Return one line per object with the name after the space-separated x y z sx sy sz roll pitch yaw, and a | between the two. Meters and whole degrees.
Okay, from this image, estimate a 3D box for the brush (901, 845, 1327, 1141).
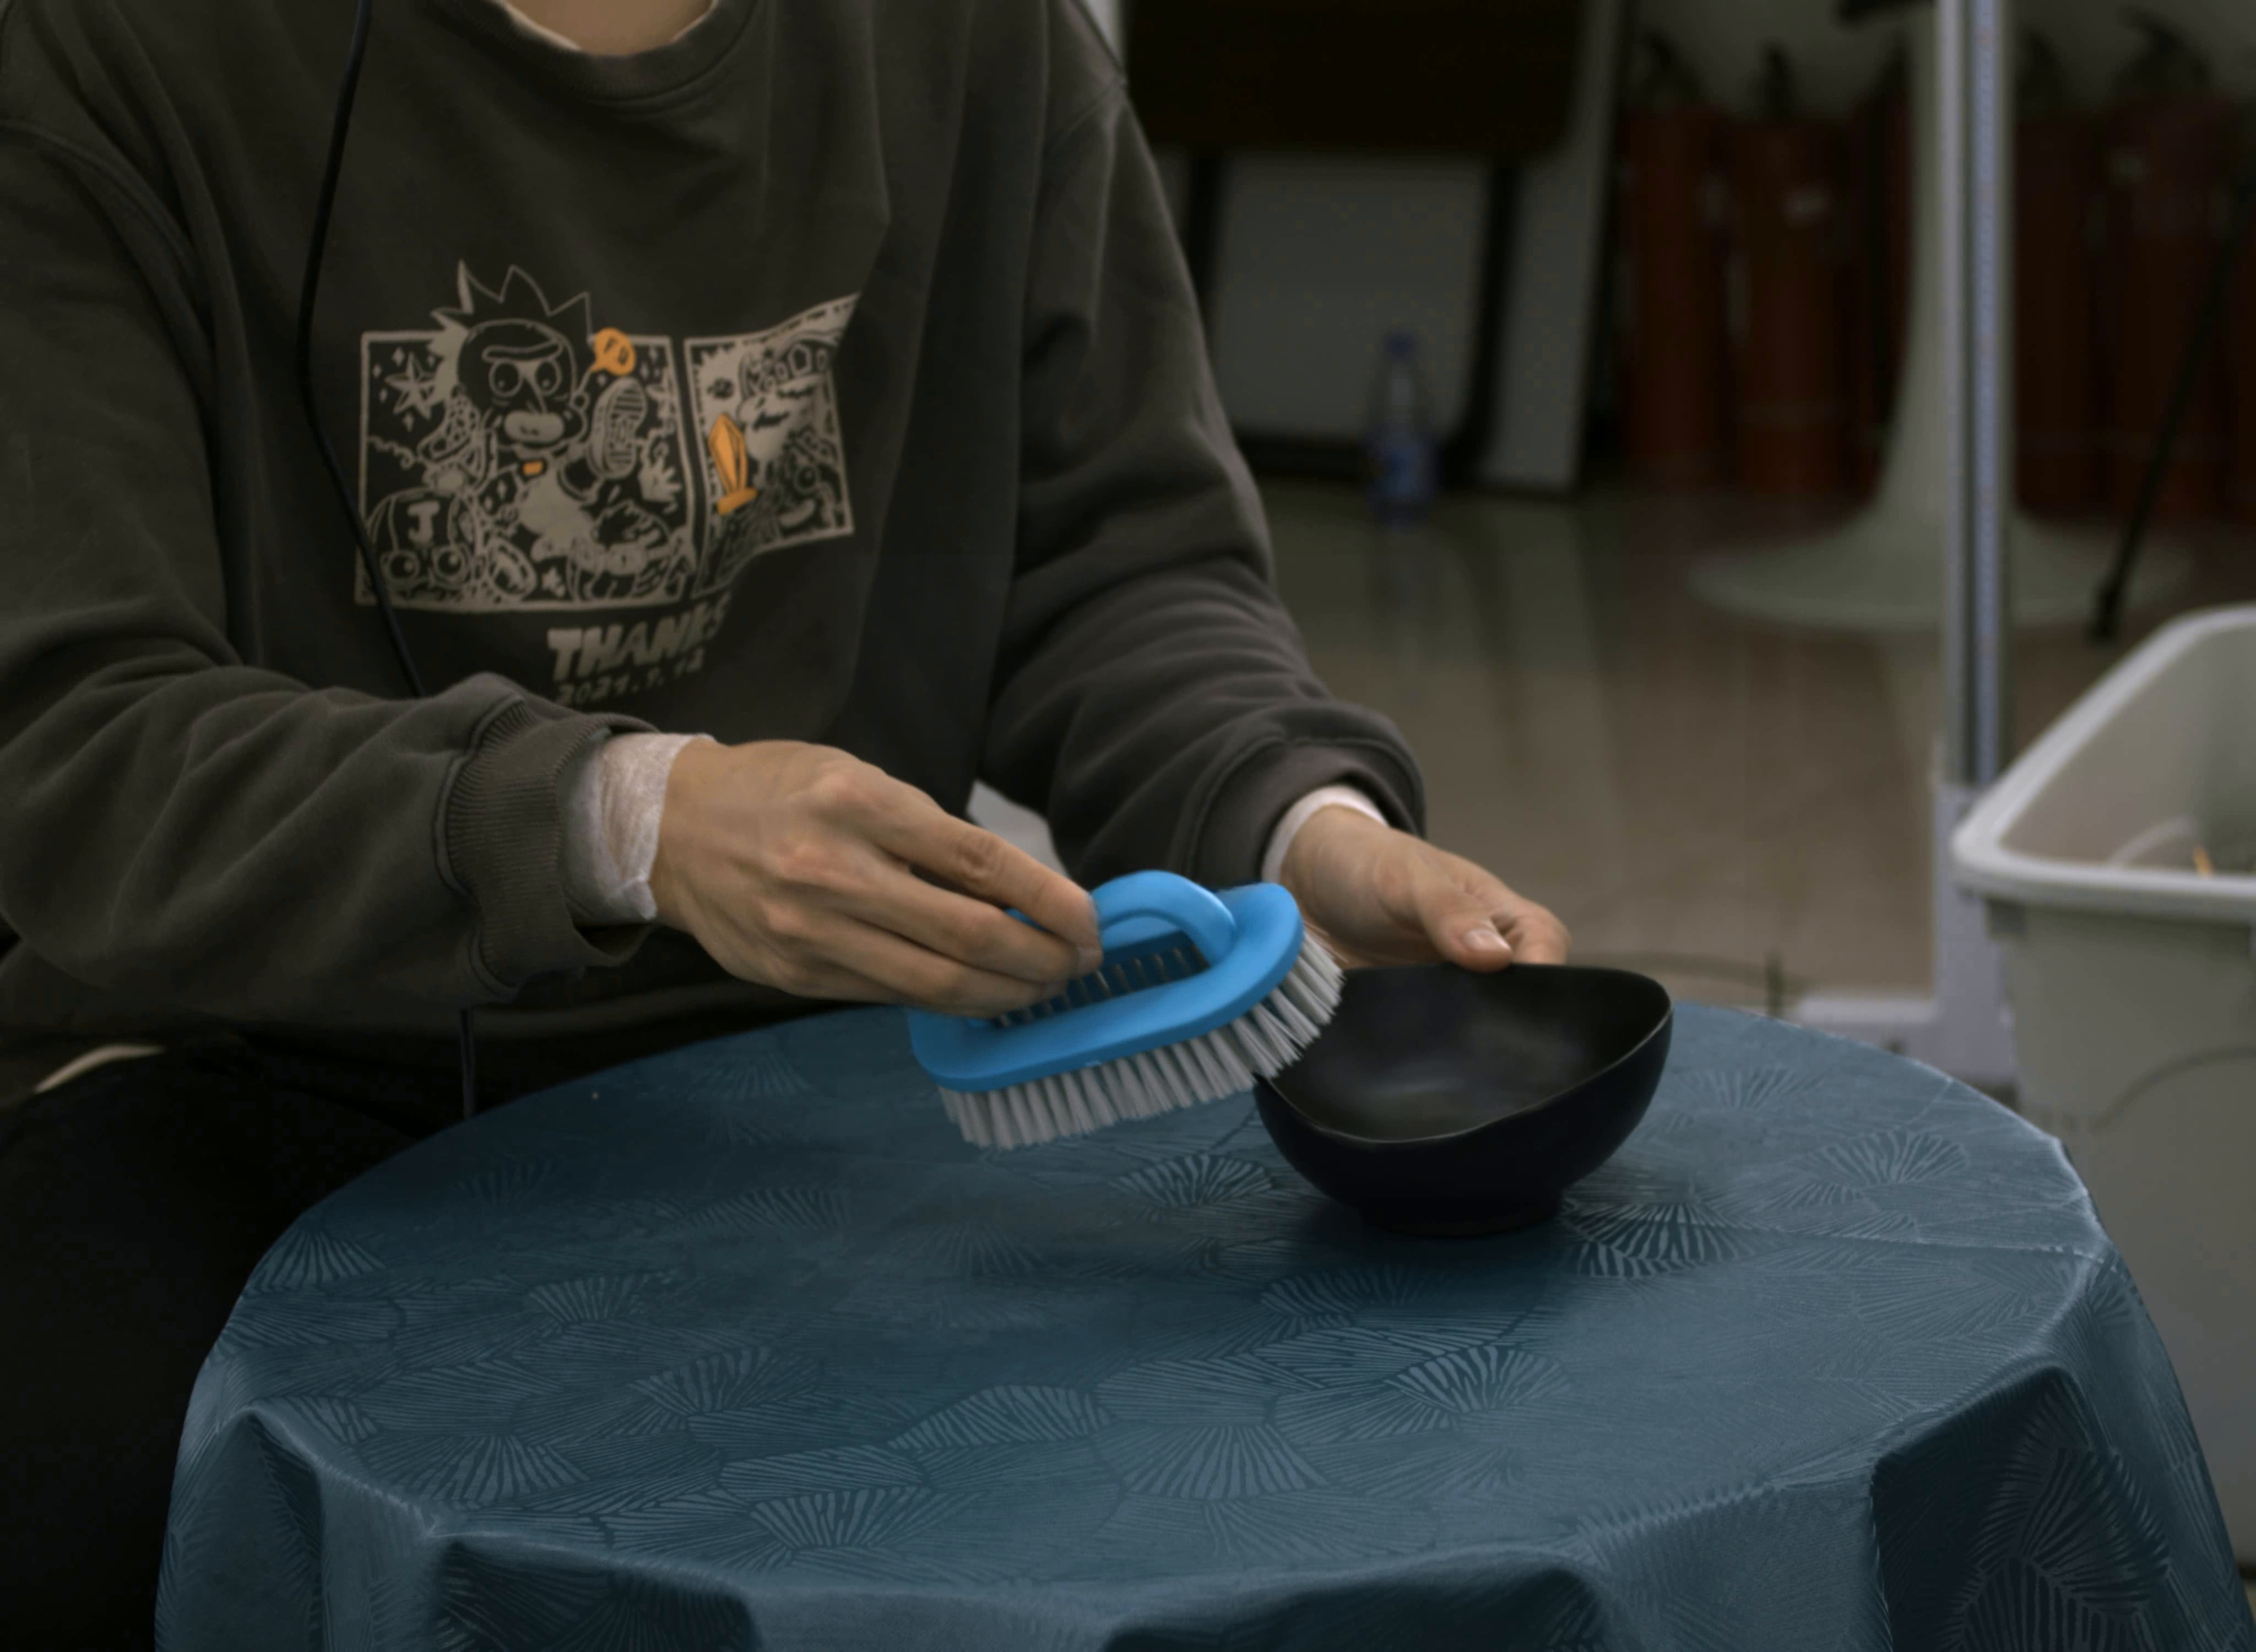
-0.012 0.043 1.703 0.142 0.063 0.084 -15 36 26 | brush

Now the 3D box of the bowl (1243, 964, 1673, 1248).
0.107 0.094 1.726 0.137 0.067 0.169 0 15 19 | bowl
